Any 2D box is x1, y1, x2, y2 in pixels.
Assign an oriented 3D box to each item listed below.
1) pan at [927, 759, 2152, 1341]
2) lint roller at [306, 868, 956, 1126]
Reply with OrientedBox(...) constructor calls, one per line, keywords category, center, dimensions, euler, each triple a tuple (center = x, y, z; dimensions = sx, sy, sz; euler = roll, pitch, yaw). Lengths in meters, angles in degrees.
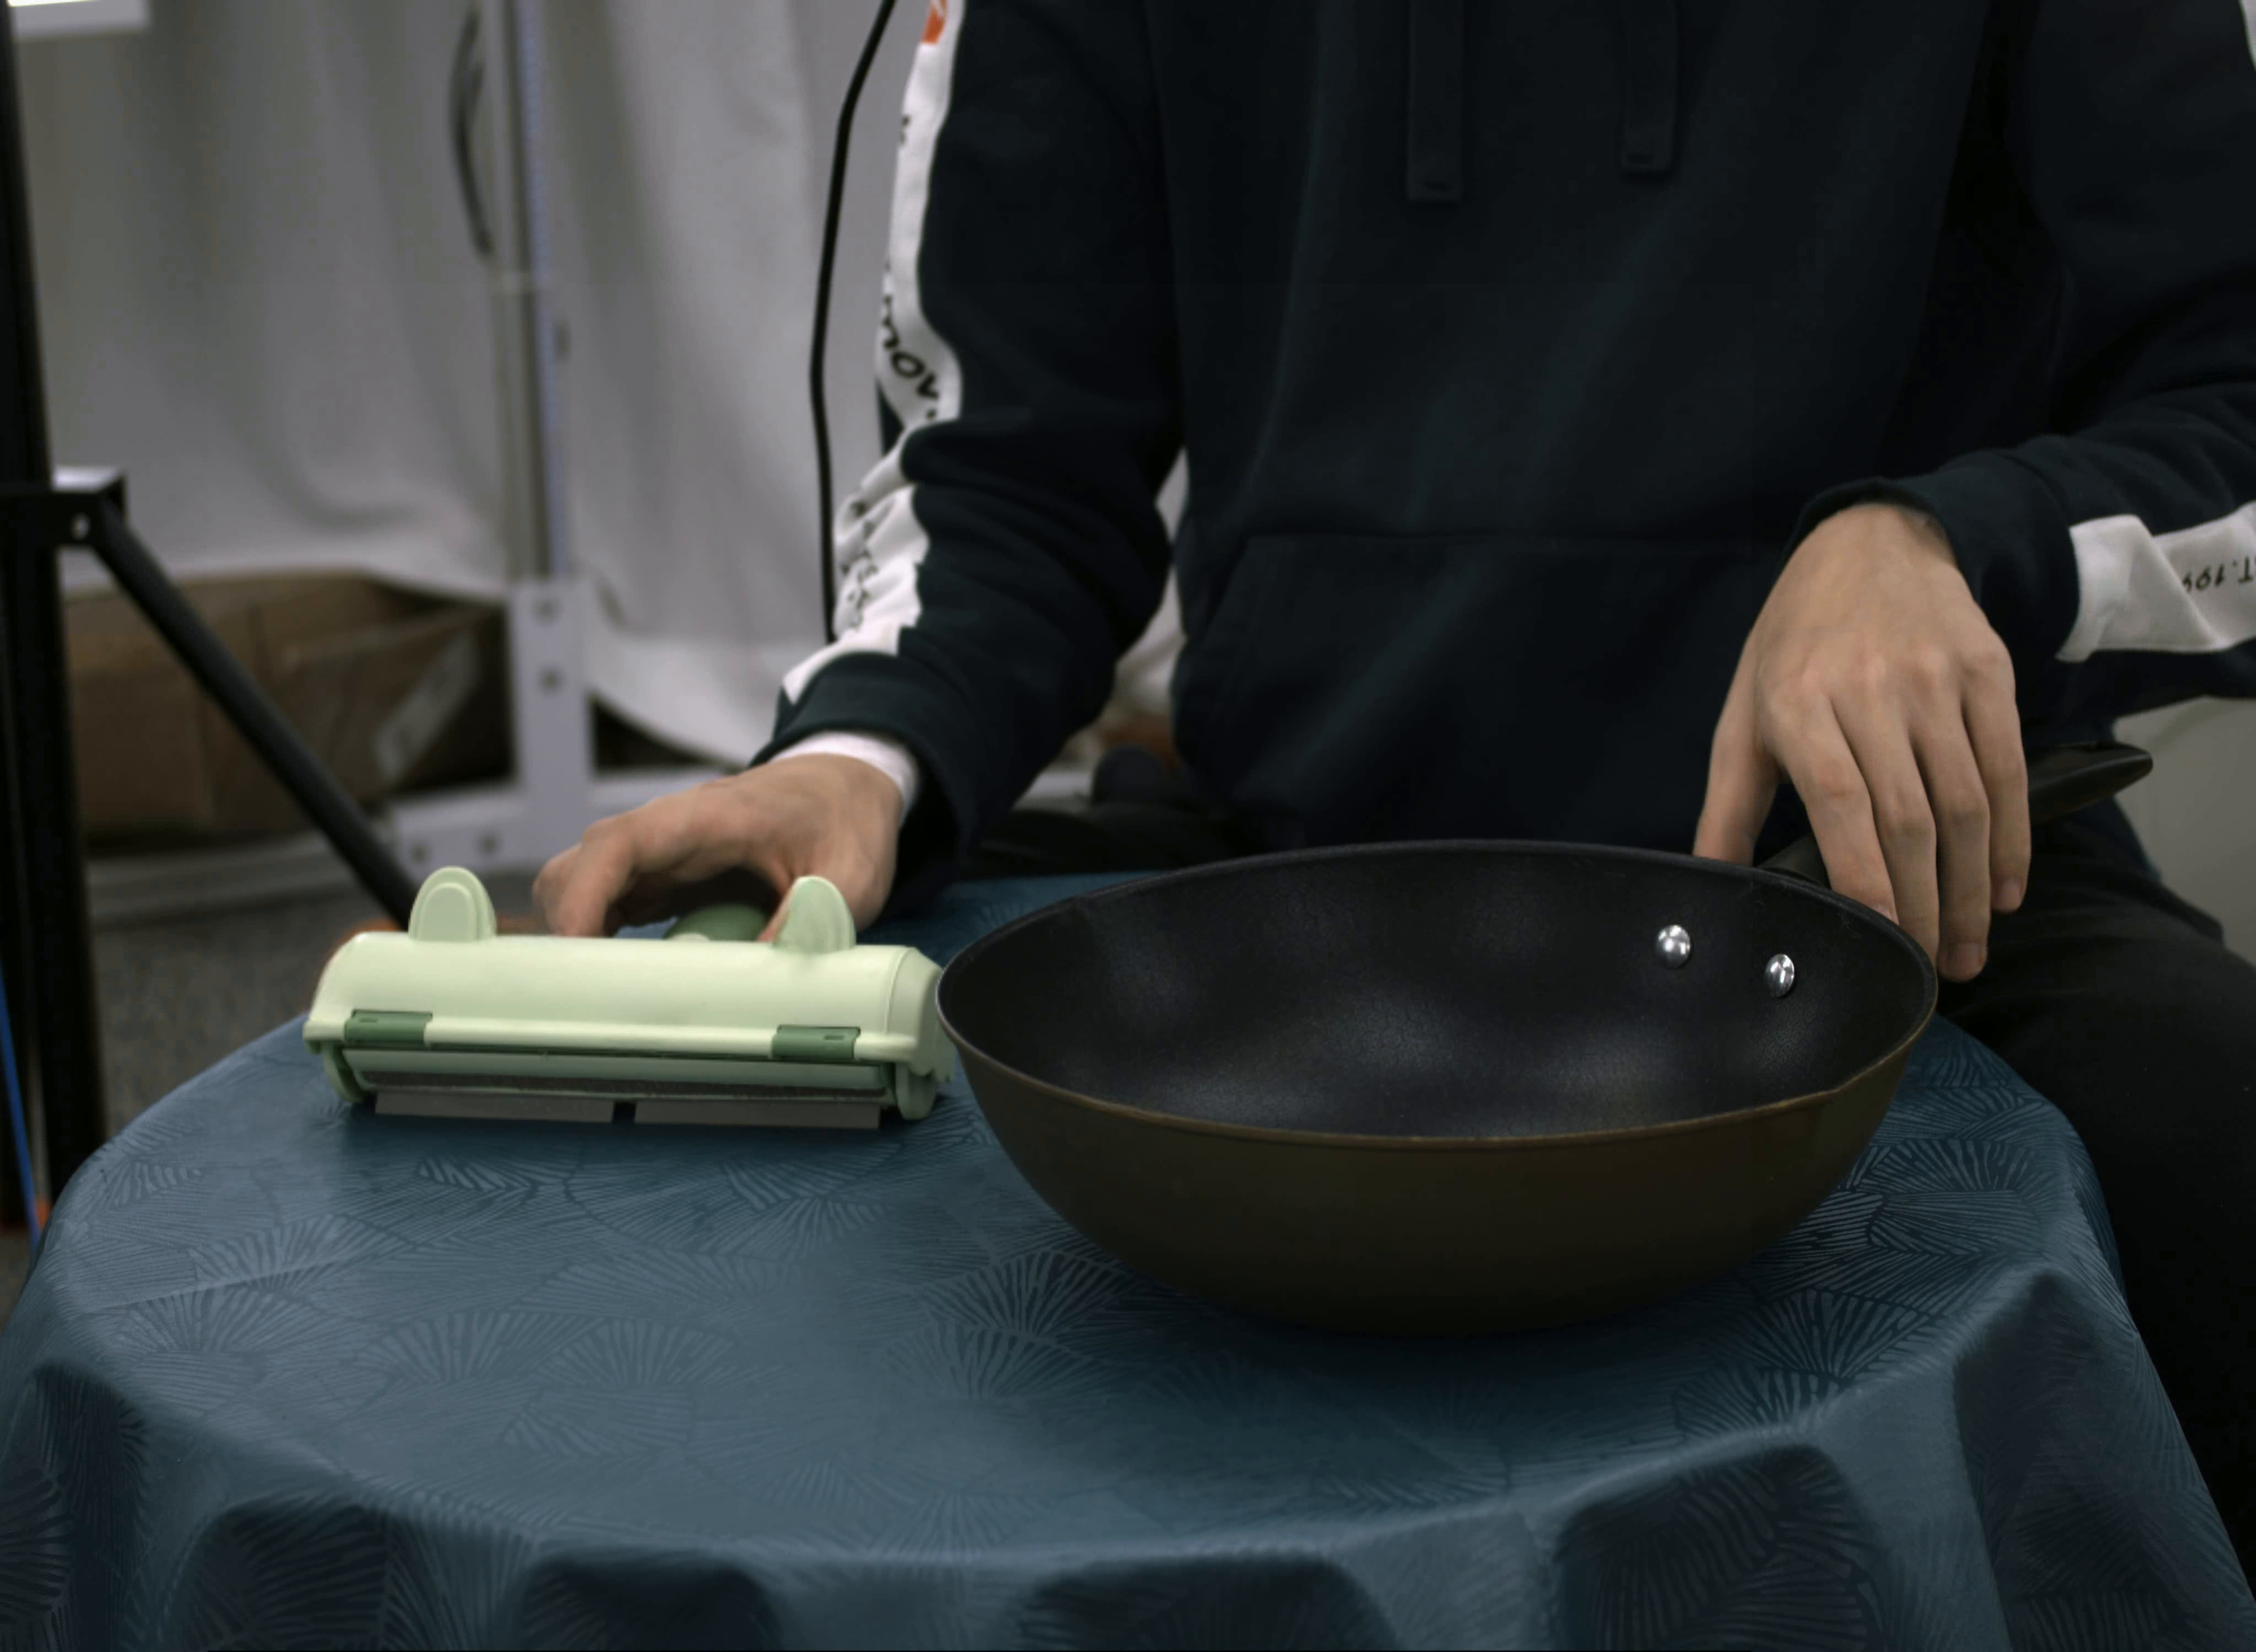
OrientedBox(category="pan", center=(0.149, 0.061, 1.547), dimensions=(0.452, 0.087, 0.295), euler=(-16, 21, -41))
OrientedBox(category="lint roller", center=(-0.142, 0.036, 1.699), dimensions=(0.200, 0.082, 0.182), euler=(1, 21, 14))
